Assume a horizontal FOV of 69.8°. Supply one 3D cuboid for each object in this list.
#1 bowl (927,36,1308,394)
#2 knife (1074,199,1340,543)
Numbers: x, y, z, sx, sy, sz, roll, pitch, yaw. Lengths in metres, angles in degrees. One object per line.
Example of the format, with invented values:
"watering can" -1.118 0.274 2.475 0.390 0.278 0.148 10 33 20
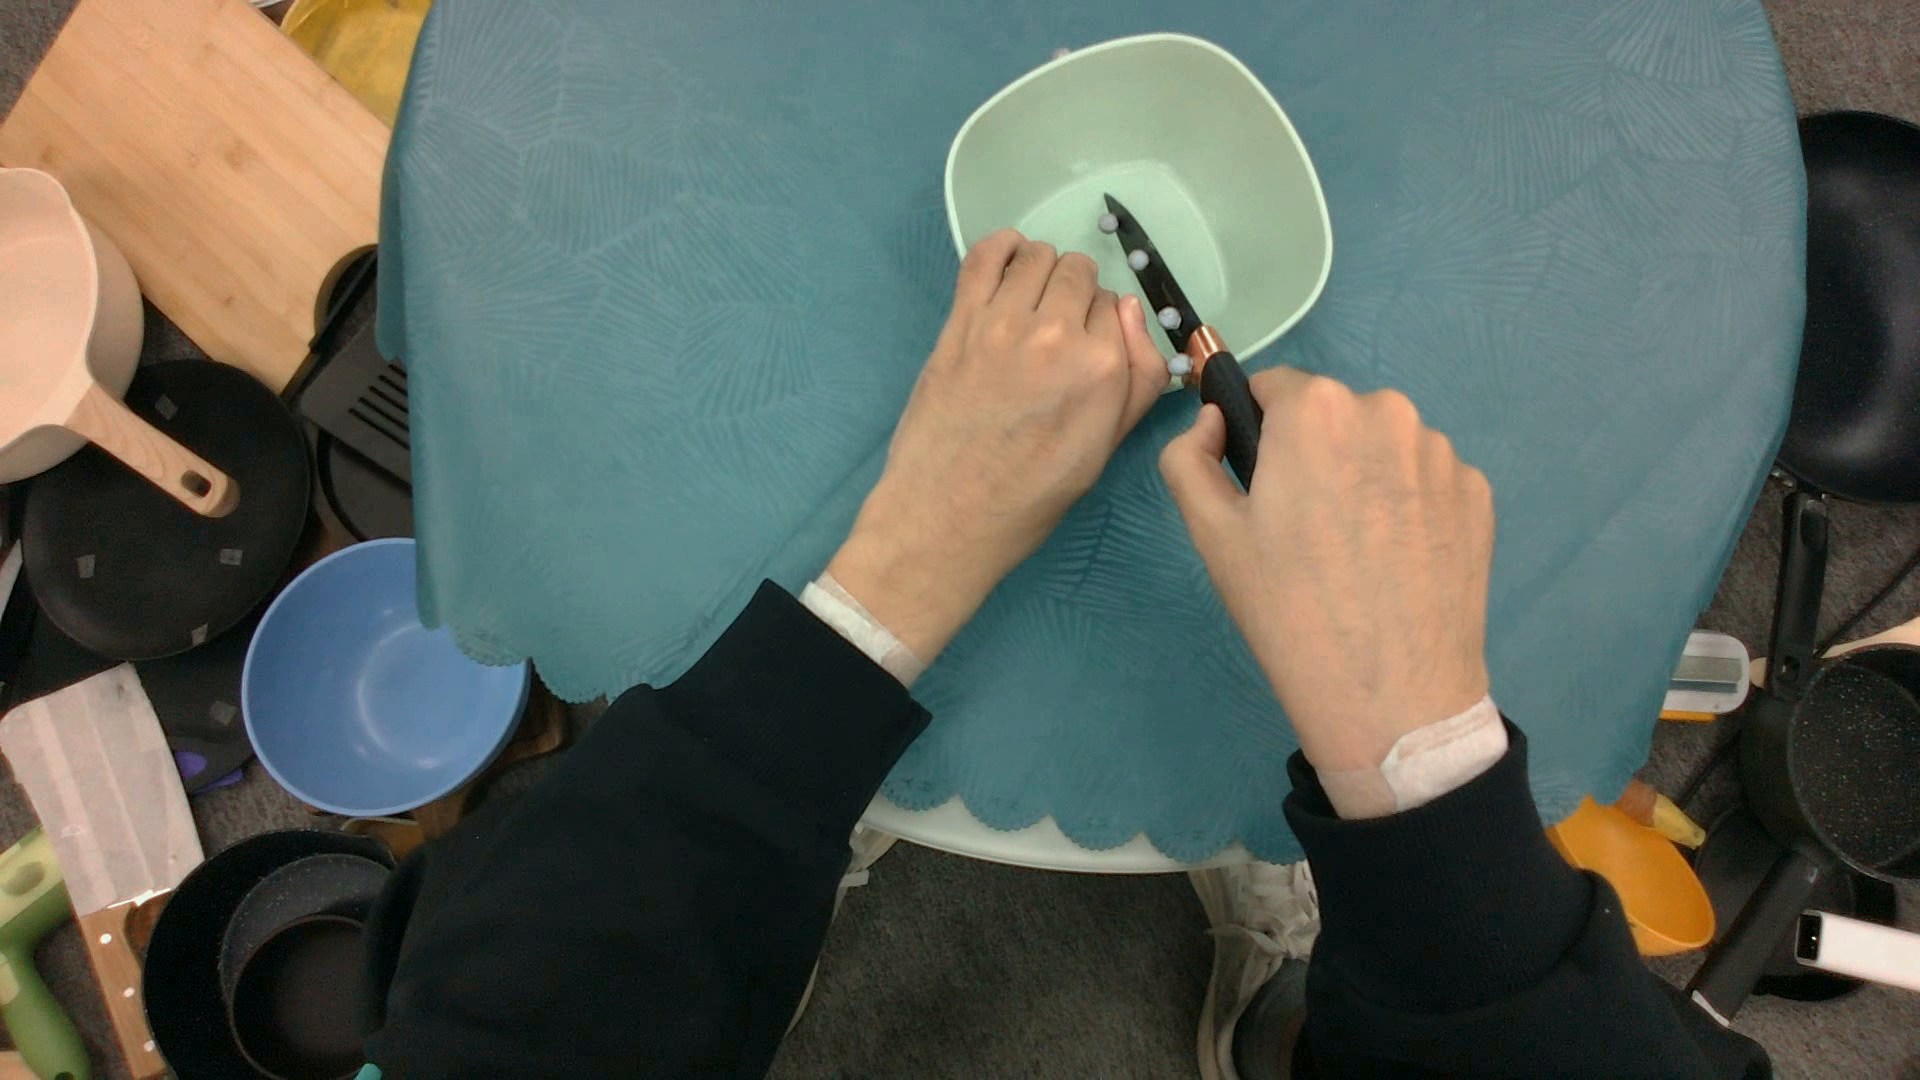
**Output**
"bowl" 0.059 -0.122 0.554 0.151 0.058 0.151 1 79 -3
"knife" 0.081 -0.075 0.502 0.017 0.026 0.226 -9 43 -13
